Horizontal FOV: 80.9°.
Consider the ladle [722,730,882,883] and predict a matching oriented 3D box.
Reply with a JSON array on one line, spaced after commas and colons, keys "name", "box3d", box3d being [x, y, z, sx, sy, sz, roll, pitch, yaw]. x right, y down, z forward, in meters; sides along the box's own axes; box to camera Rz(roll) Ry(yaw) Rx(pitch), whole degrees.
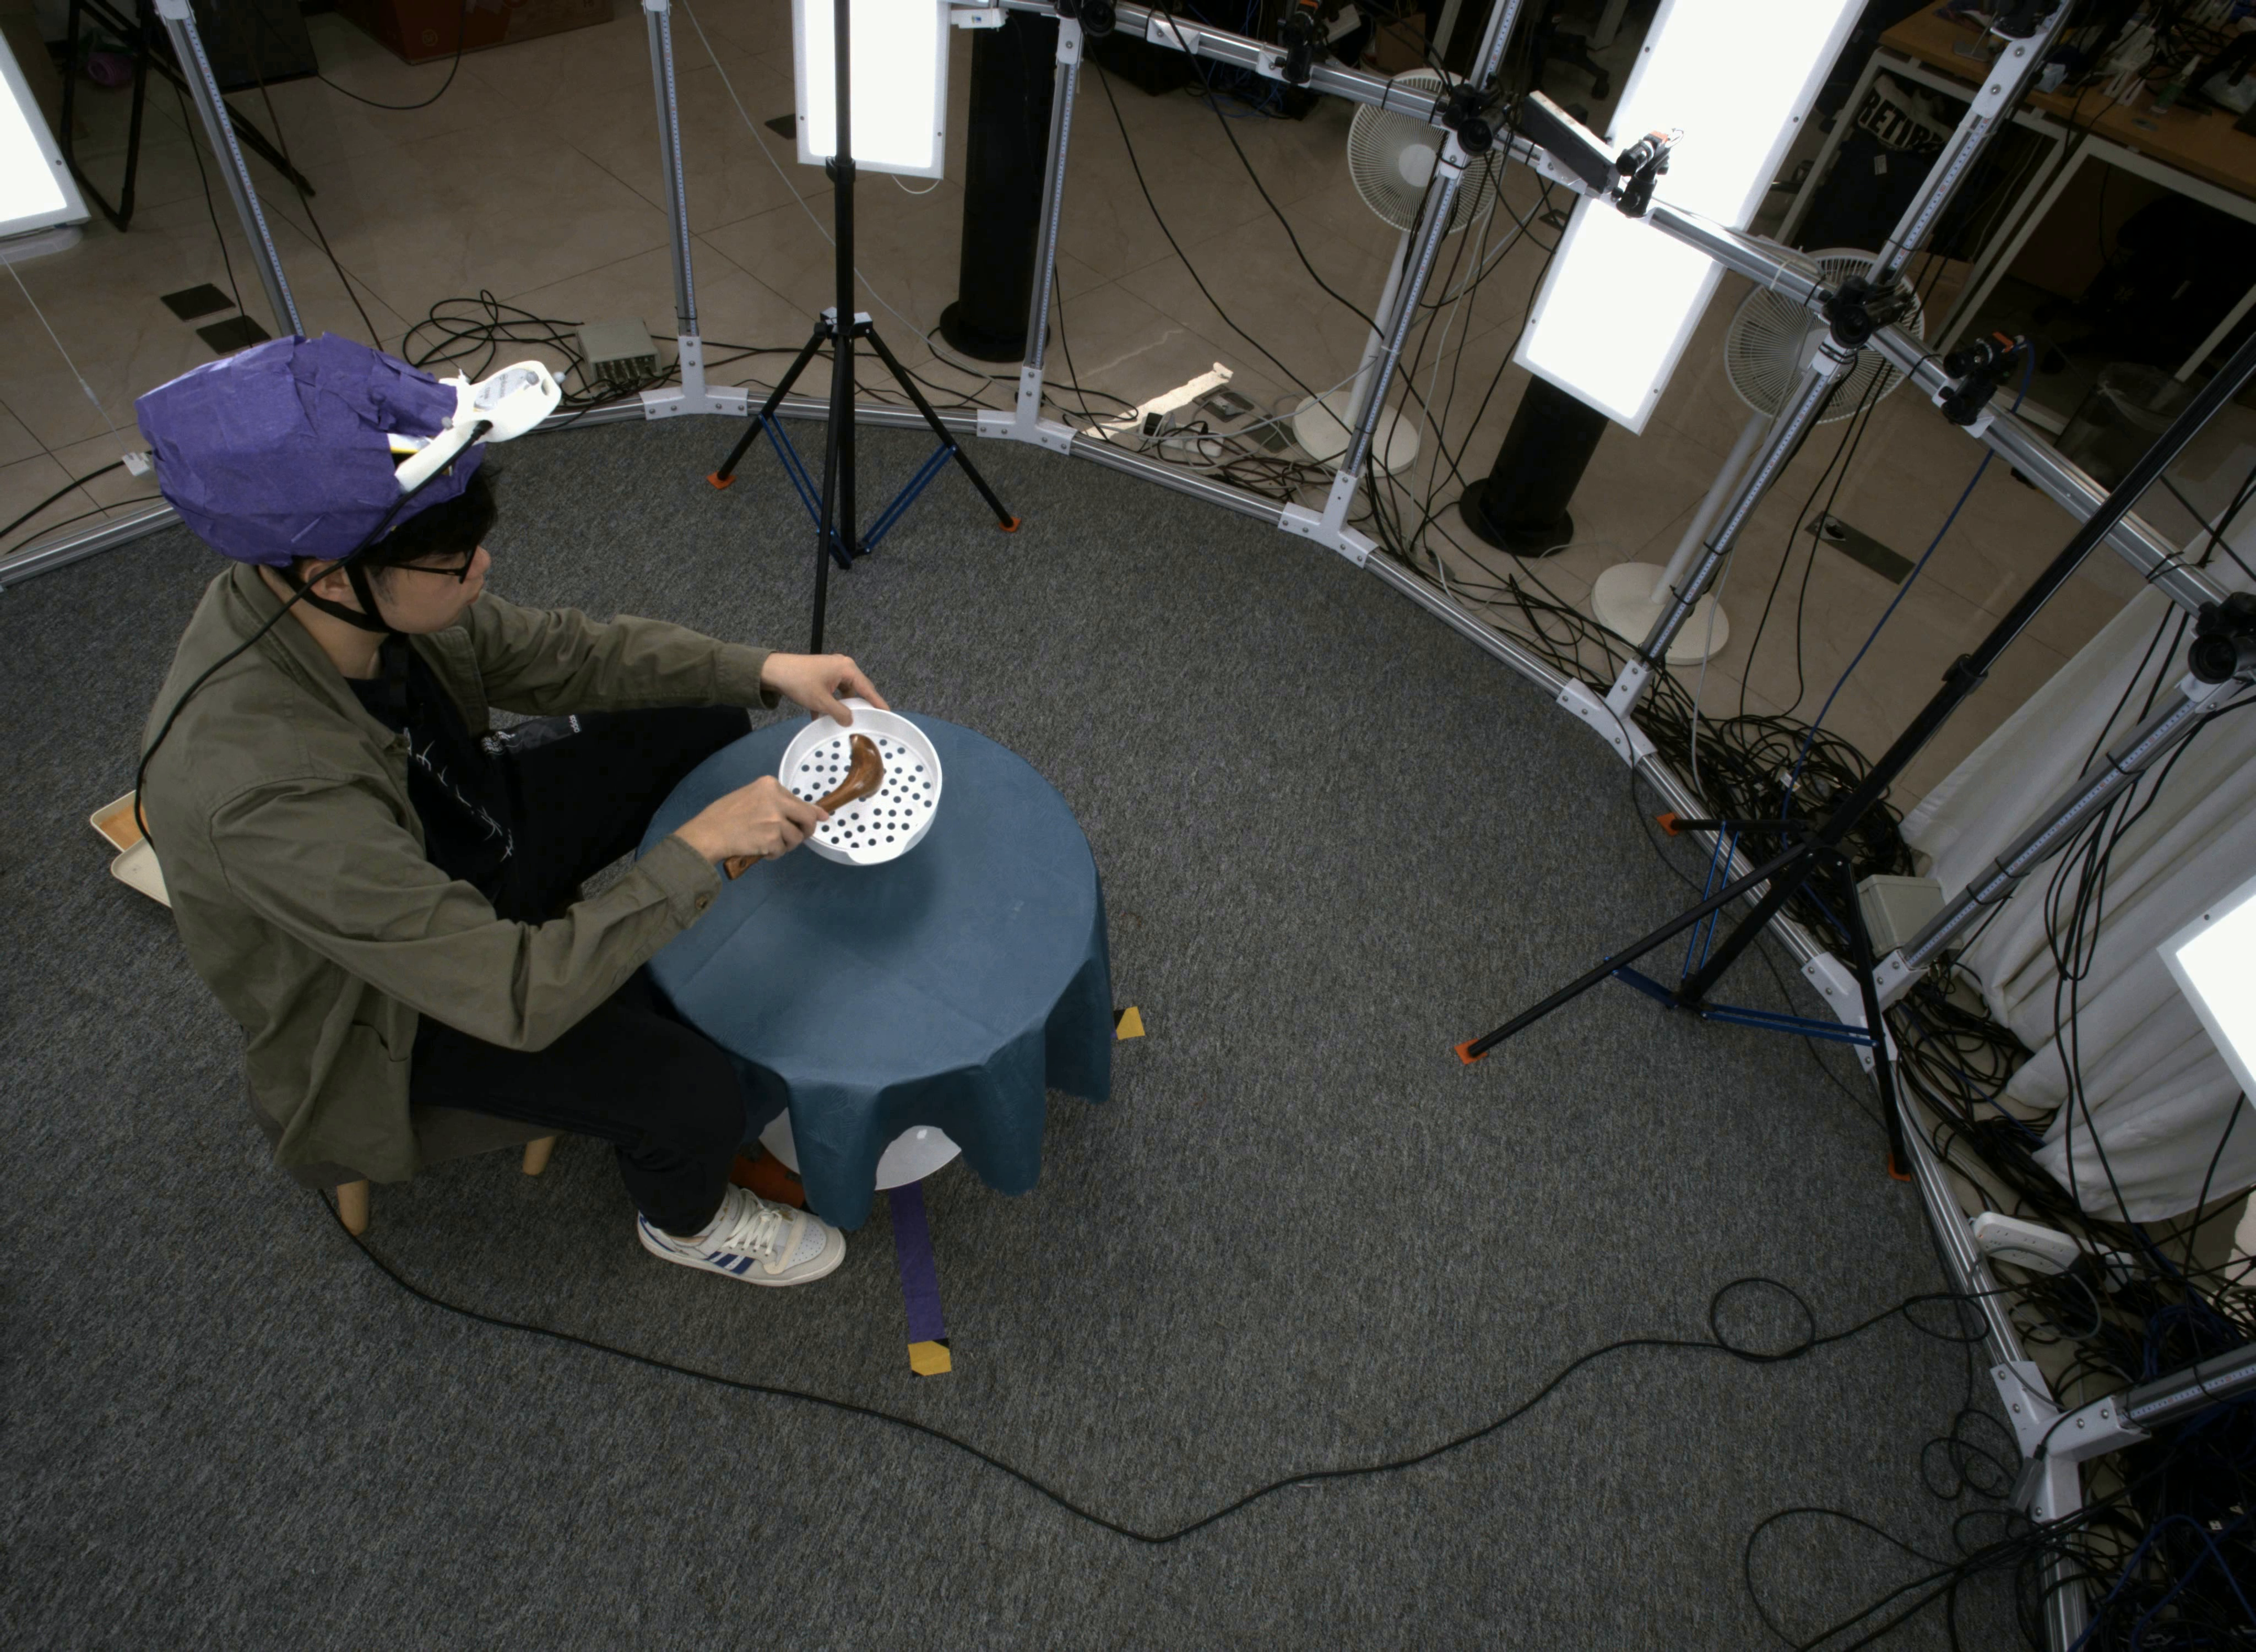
[{"name": "ladle", "box3d": [-0.389, -0.025, 1.523, 0.074, 0.085, 0.274, 12, 38, 36]}]

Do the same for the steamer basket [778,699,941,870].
[{"name": "steamer basket", "box3d": [-0.338, -0.045, 1.644, 0.202, 0.070, 0.228, -11, 70, -16]}]
